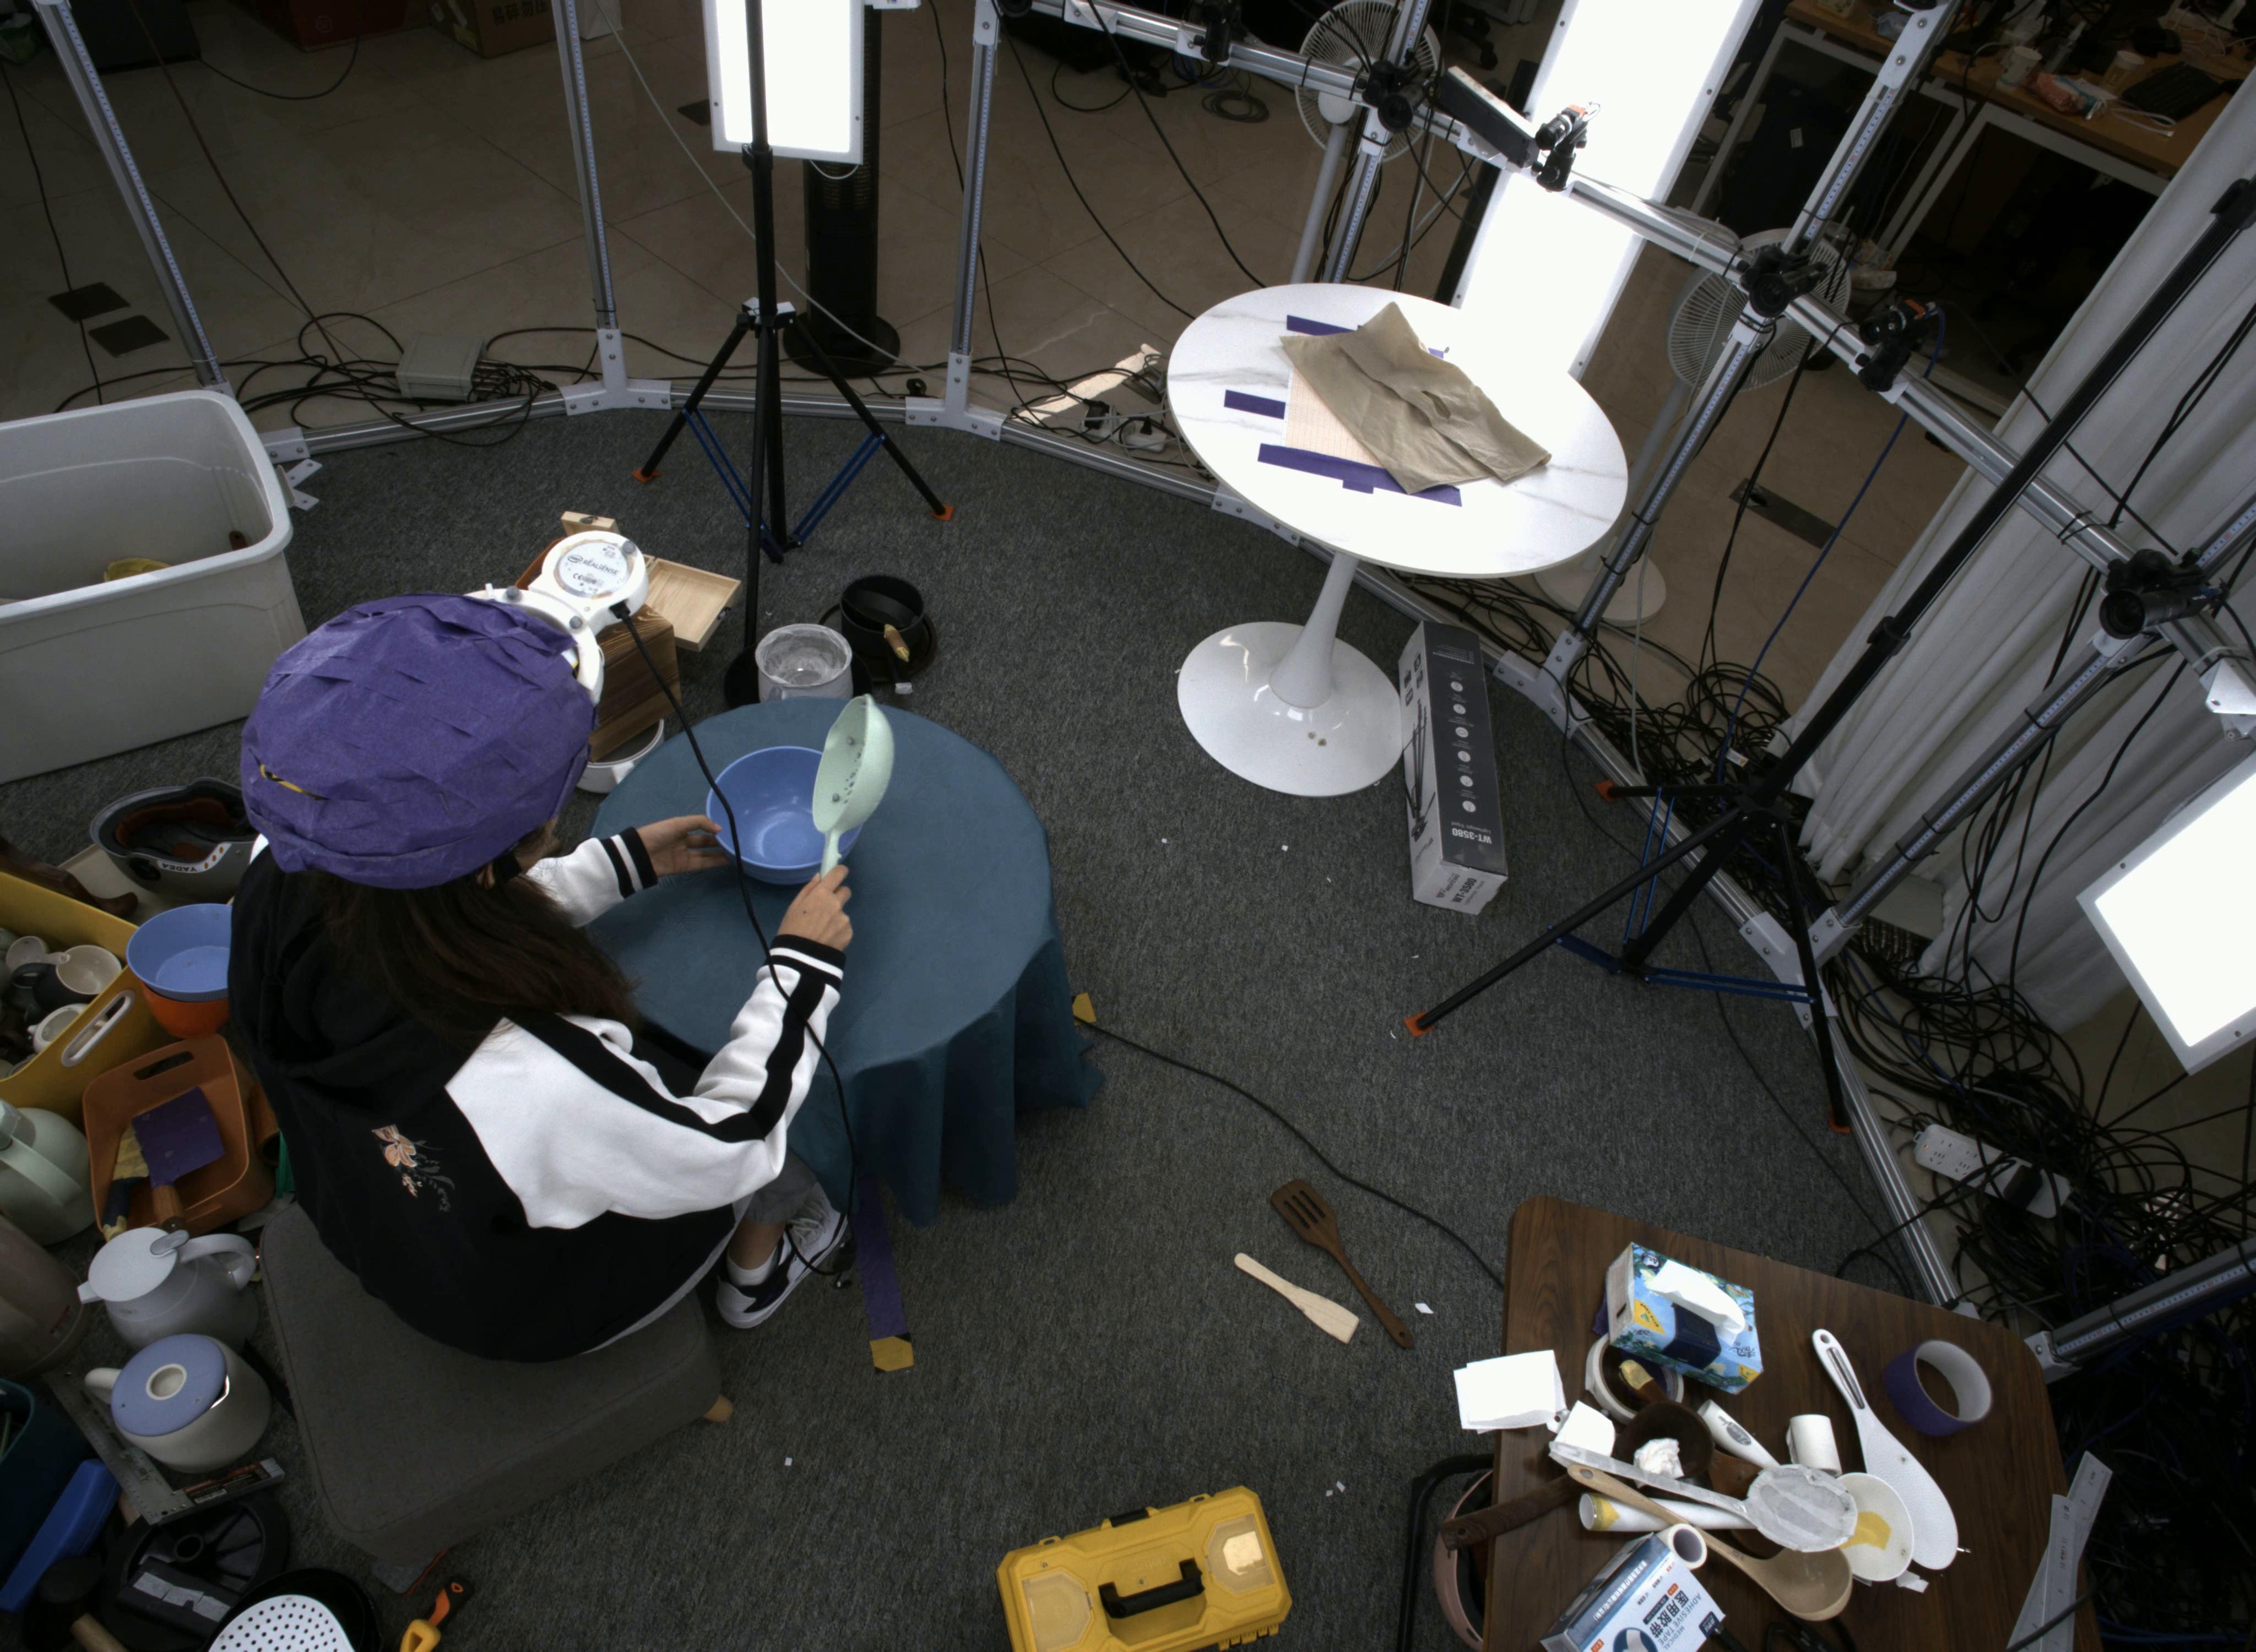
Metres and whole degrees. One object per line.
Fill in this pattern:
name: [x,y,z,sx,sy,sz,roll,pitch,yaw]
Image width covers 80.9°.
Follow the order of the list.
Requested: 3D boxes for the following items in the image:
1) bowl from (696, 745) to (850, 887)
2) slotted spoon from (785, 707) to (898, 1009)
bowl: [-0.445,0.002,1.651,0.196,0.097,0.193,8,52,-9]
slotted spoon: [-0.352,0.030,1.513,0.164,0.078,0.356,-8,56,33]
